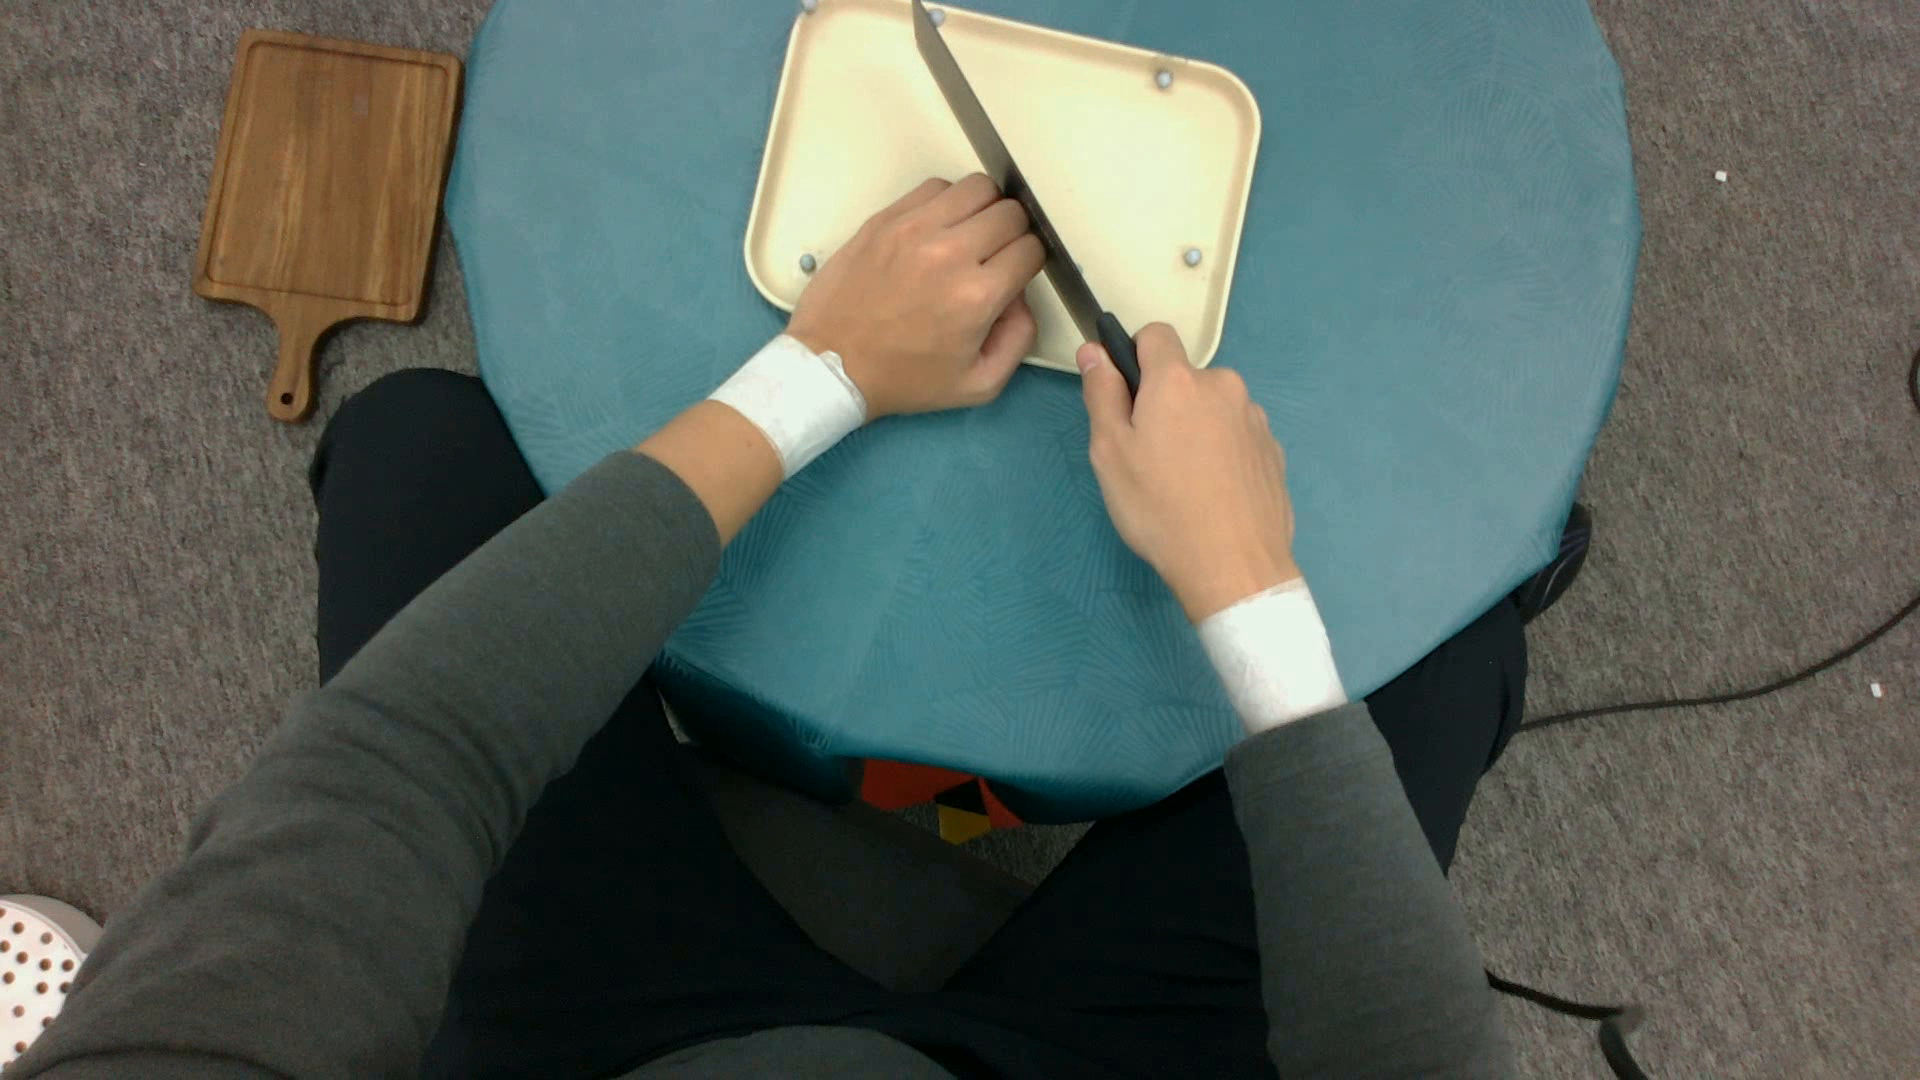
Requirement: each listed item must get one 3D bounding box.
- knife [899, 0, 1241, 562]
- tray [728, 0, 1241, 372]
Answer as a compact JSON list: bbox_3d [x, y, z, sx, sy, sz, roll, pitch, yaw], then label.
[{"bbox_3d":[0.046,-0.123,0.644,0.021,0.081,0.302,-30,83,-3],"label":"knife"},{"bbox_3d":[0.014,-0.182,0.688,0.240,0.017,0.171,12,84,-2],"label":"tray"}]
